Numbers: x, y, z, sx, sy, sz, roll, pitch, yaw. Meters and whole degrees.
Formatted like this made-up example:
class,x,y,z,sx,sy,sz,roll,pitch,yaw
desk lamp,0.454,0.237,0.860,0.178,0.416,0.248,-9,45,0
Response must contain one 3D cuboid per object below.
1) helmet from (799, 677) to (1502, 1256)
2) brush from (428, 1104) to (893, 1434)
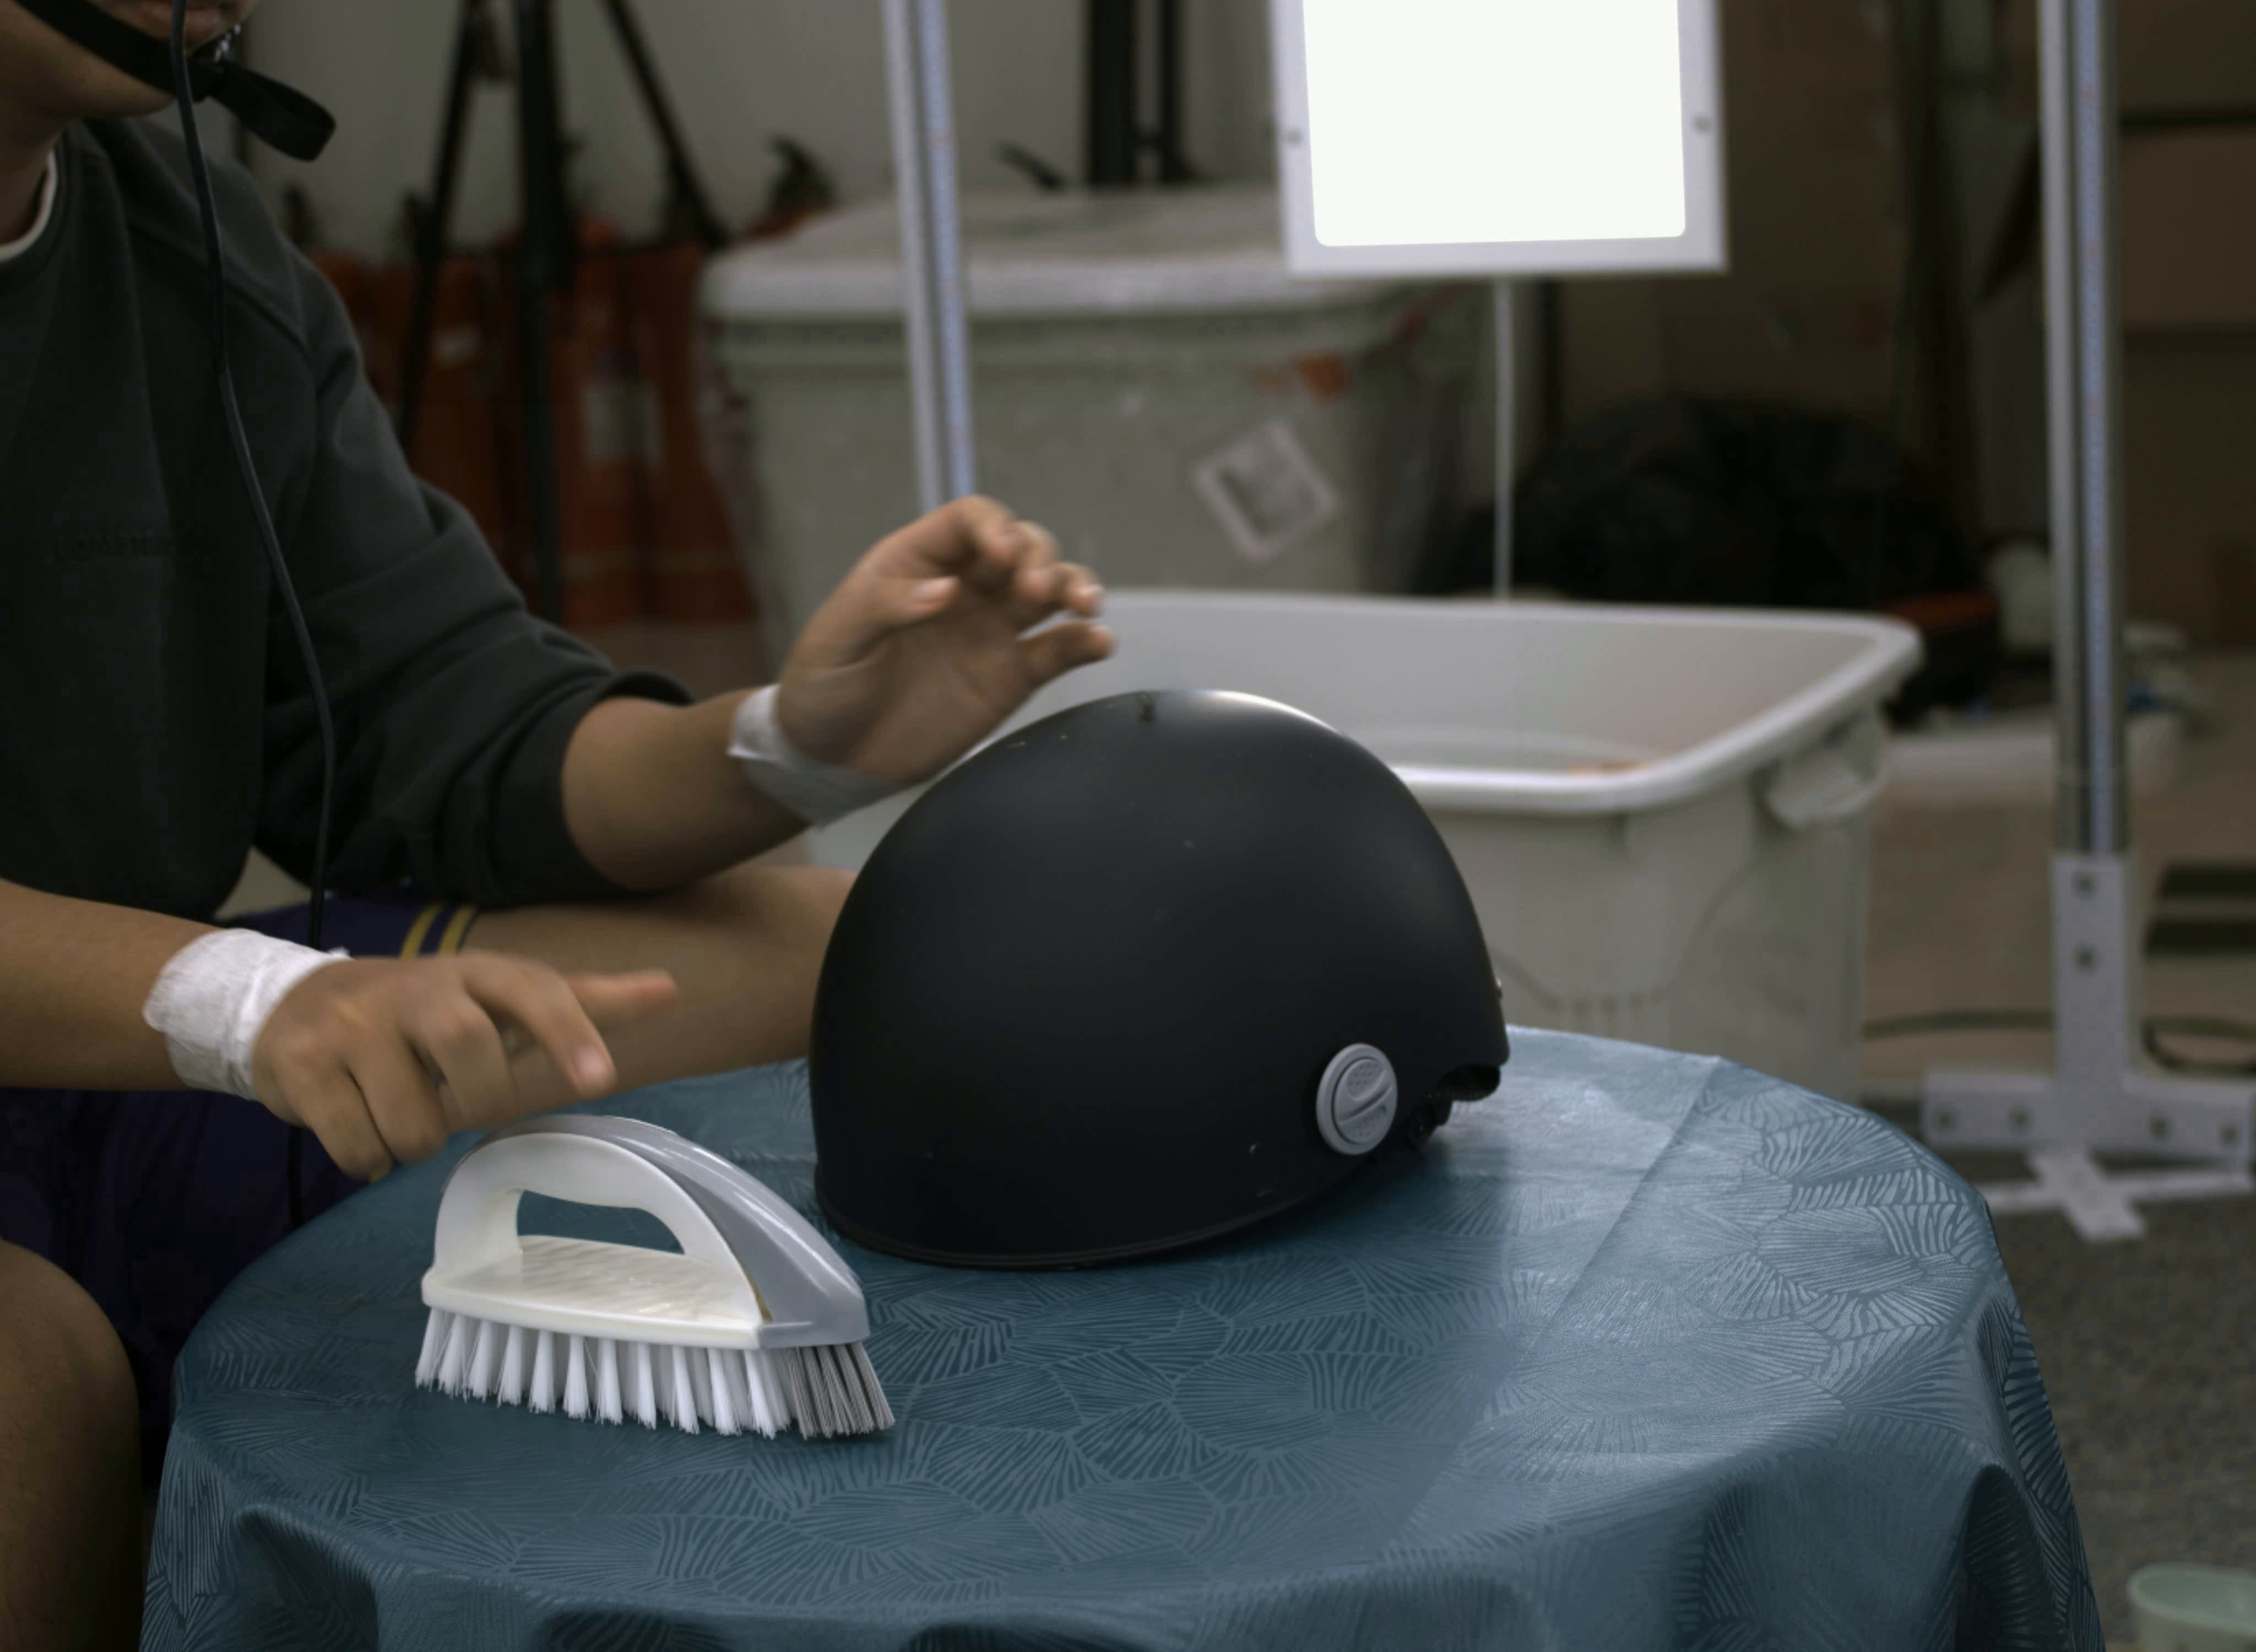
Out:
class,x,y,z,sx,sy,sz,roll,pitch,yaw
helmet,0.002,0.038,1.921,0.235,0.167,0.266,5,19,37
brush,-0.146,0.136,1.724,0.179,0.094,0.060,8,22,38
